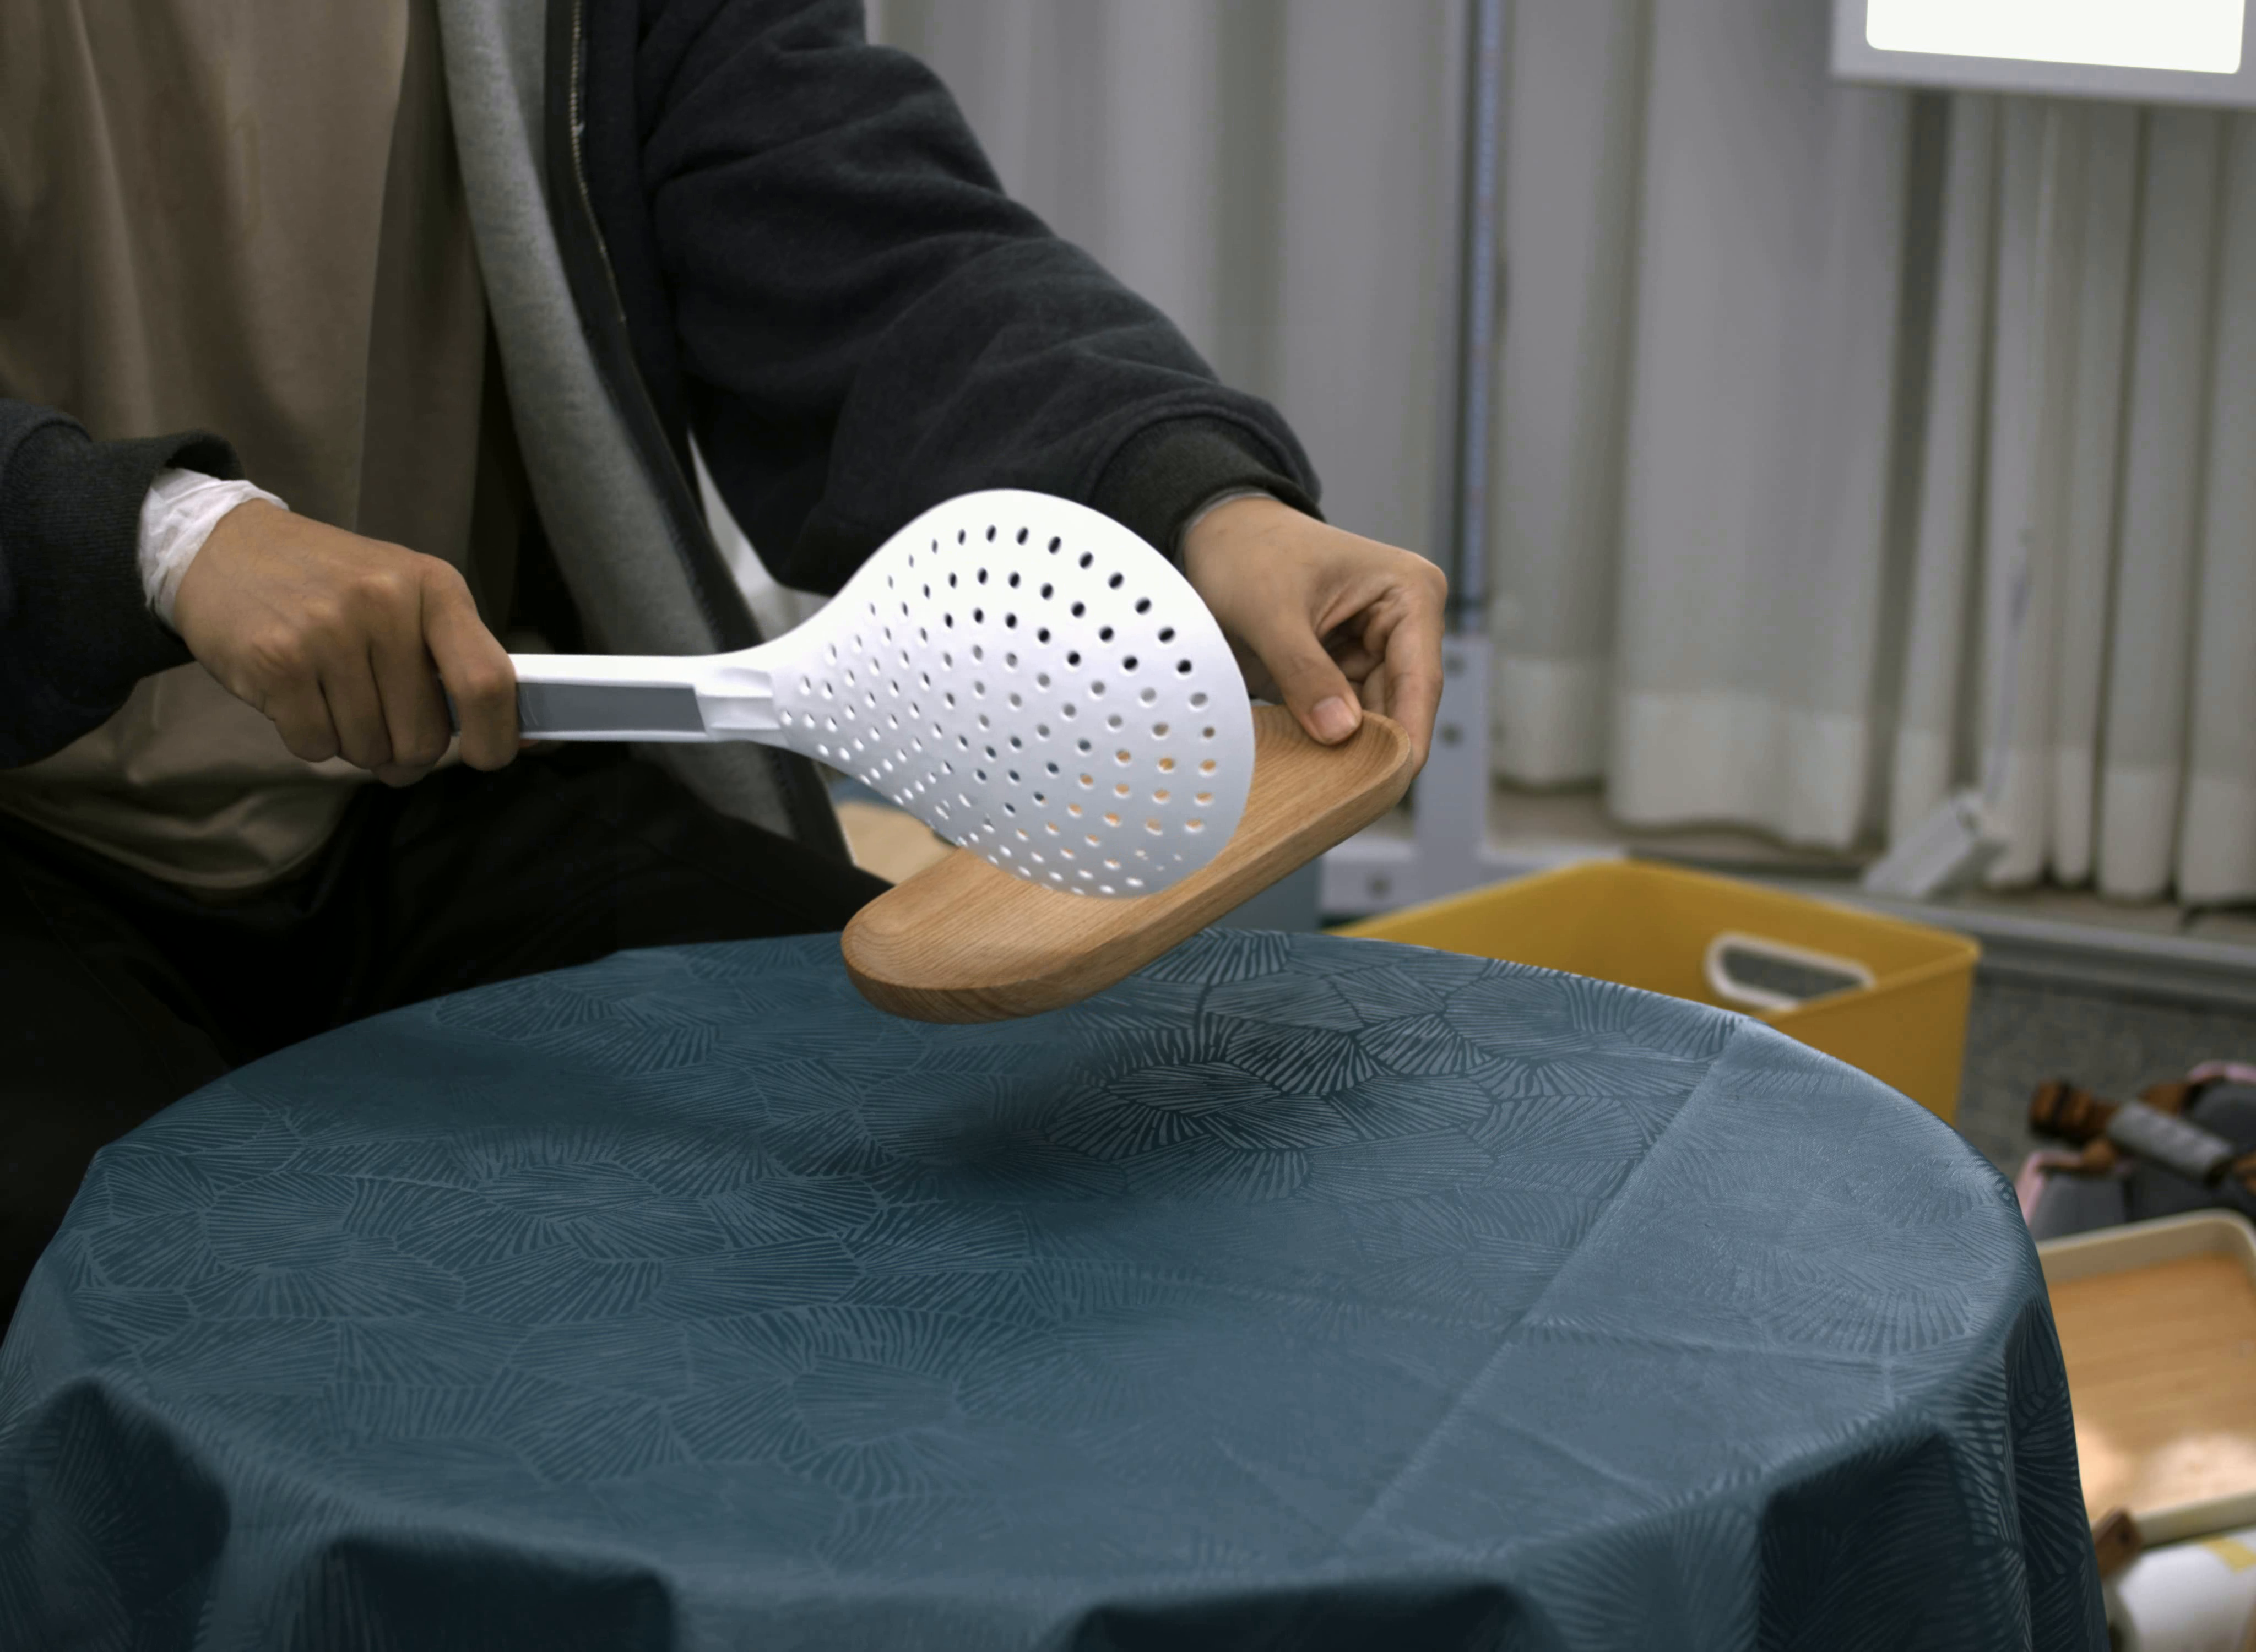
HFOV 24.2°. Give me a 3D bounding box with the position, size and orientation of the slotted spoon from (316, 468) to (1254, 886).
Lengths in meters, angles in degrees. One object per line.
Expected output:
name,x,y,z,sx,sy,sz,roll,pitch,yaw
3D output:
slotted spoon,-0.116,-0.043,1.636,0.345,0.137,0.046,4,27,36

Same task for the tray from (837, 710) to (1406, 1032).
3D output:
tray,0.001,0.012,1.679,0.100,0.020,0.231,9,29,39
